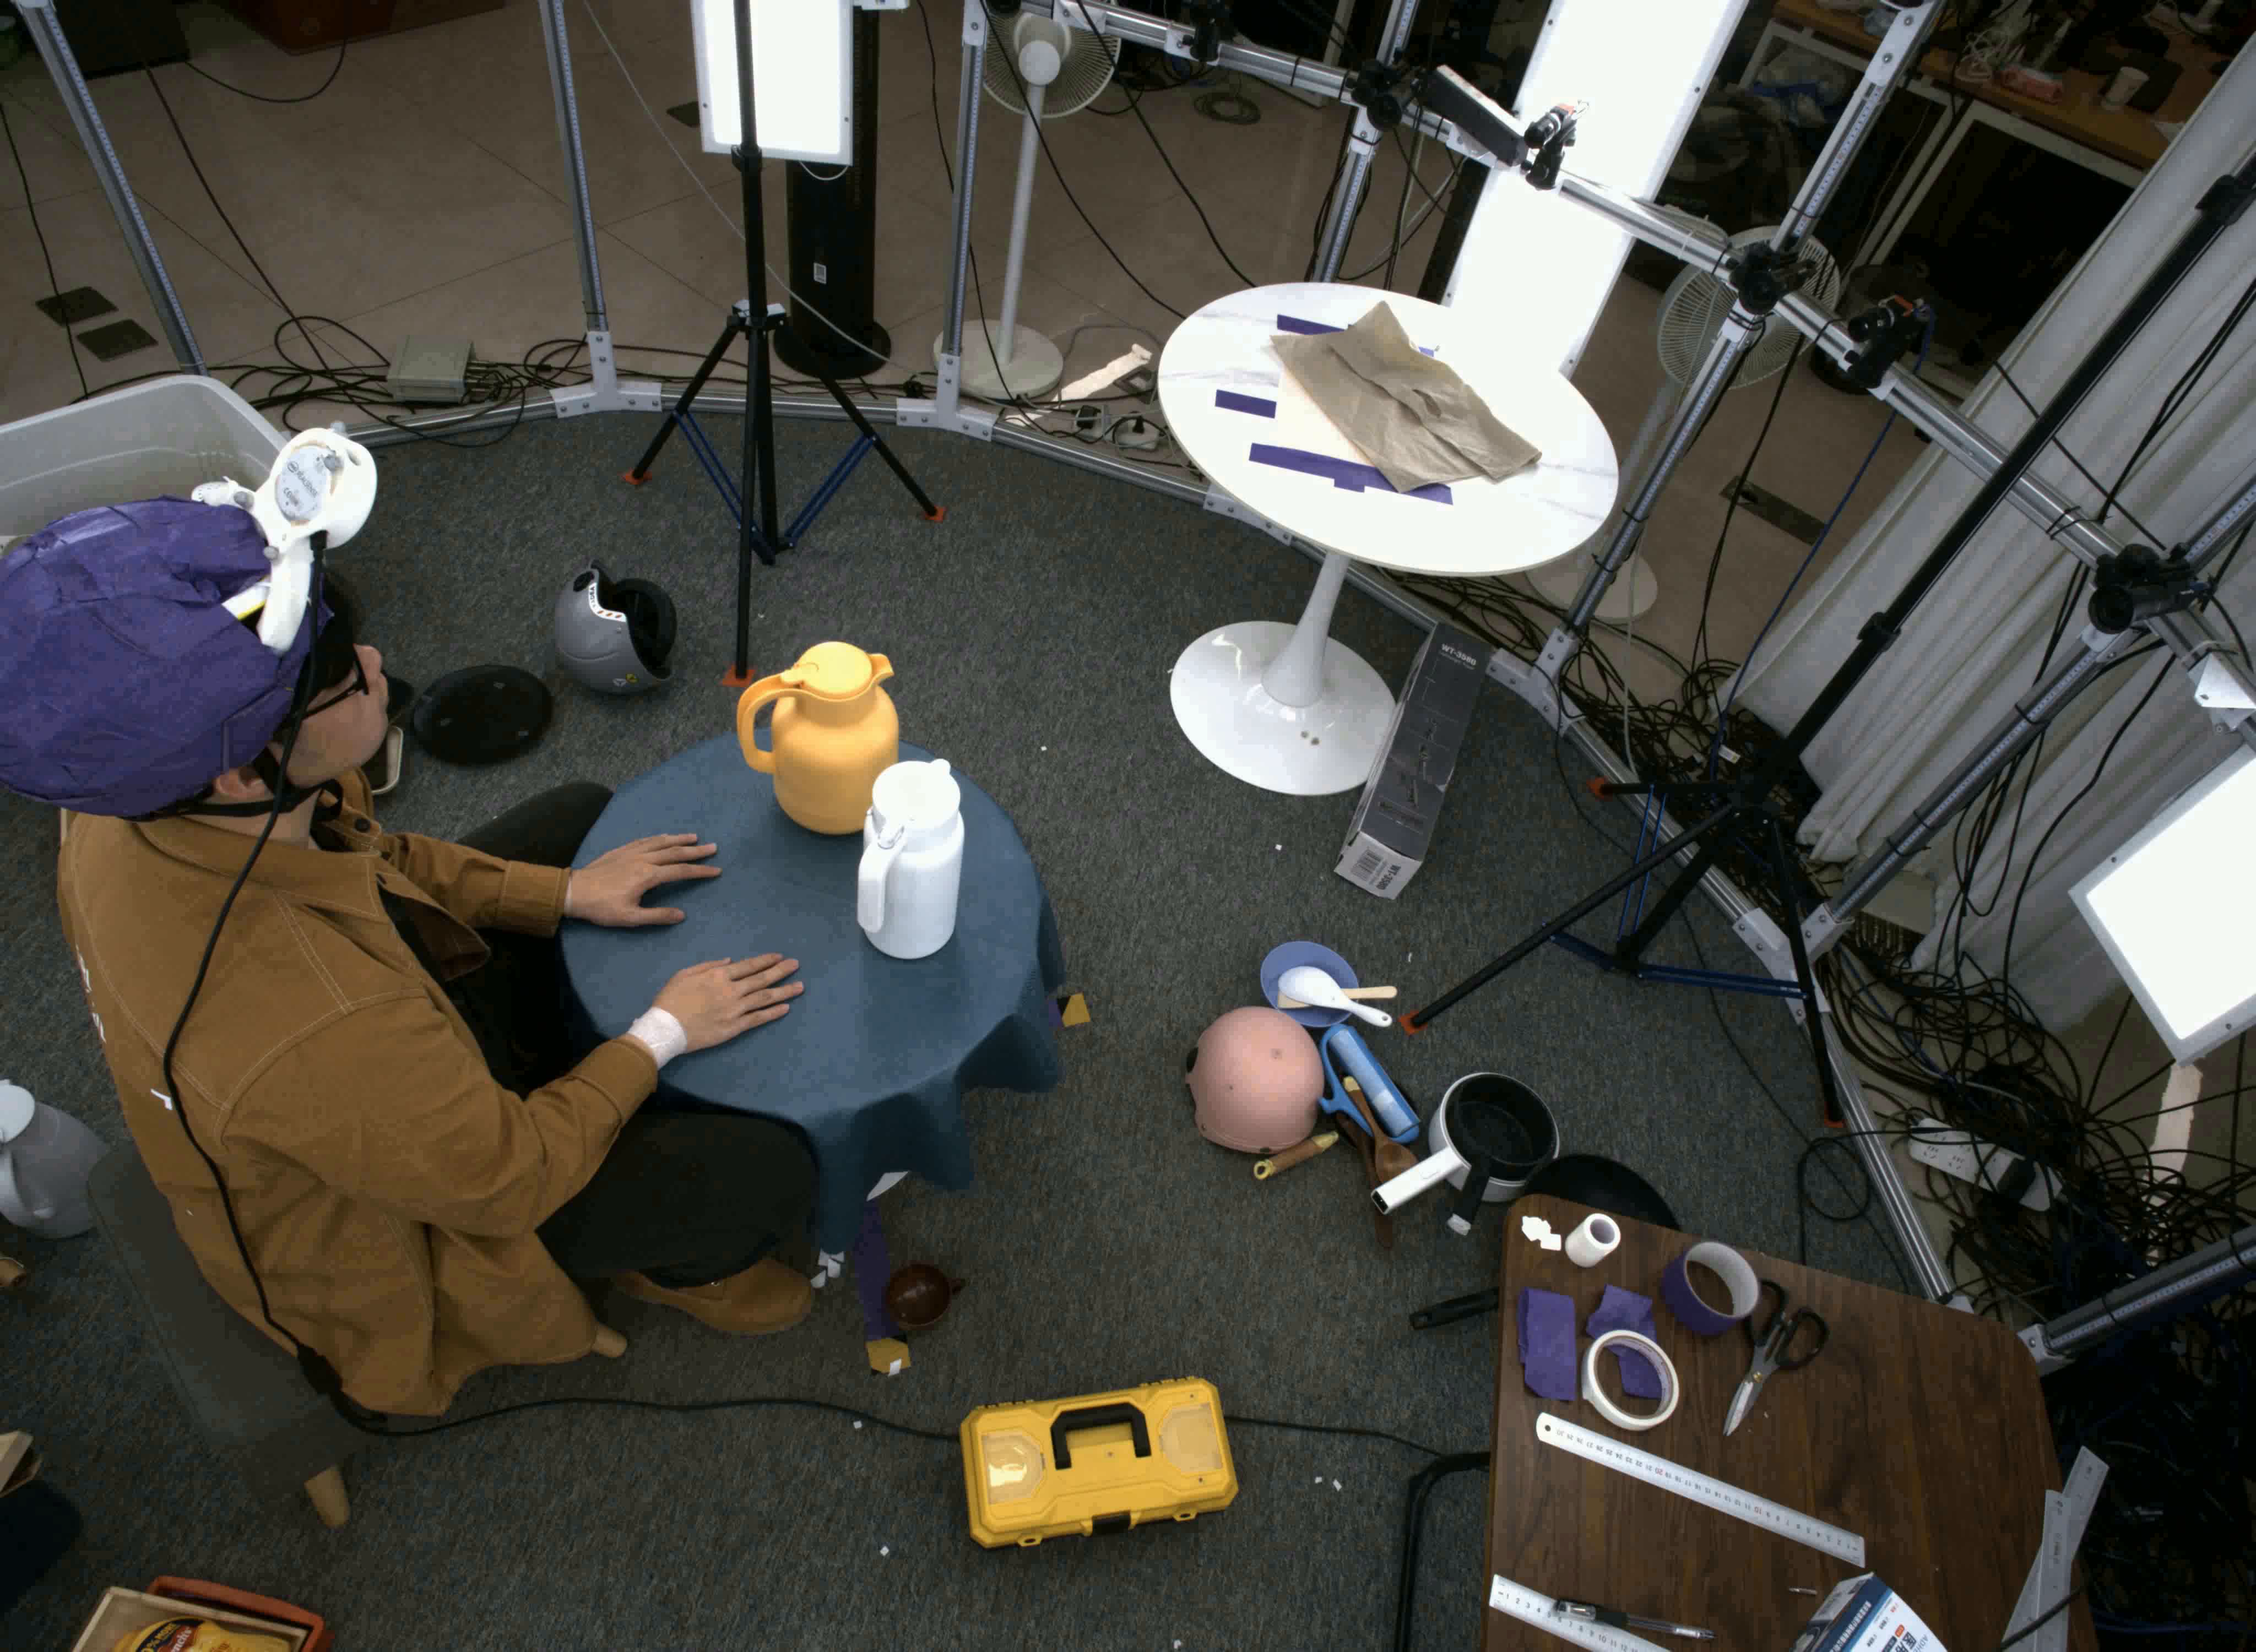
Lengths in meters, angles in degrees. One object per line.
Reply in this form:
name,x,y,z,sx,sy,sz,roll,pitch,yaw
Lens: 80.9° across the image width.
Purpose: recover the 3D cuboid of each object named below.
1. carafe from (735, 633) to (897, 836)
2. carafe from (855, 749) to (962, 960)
carafe,-0.394,-0.119,1.647,0.203,0.266,0.159,-11,52,-22
carafe,-0.267,0.052,1.550,0.122,0.274,0.171,24,51,6
